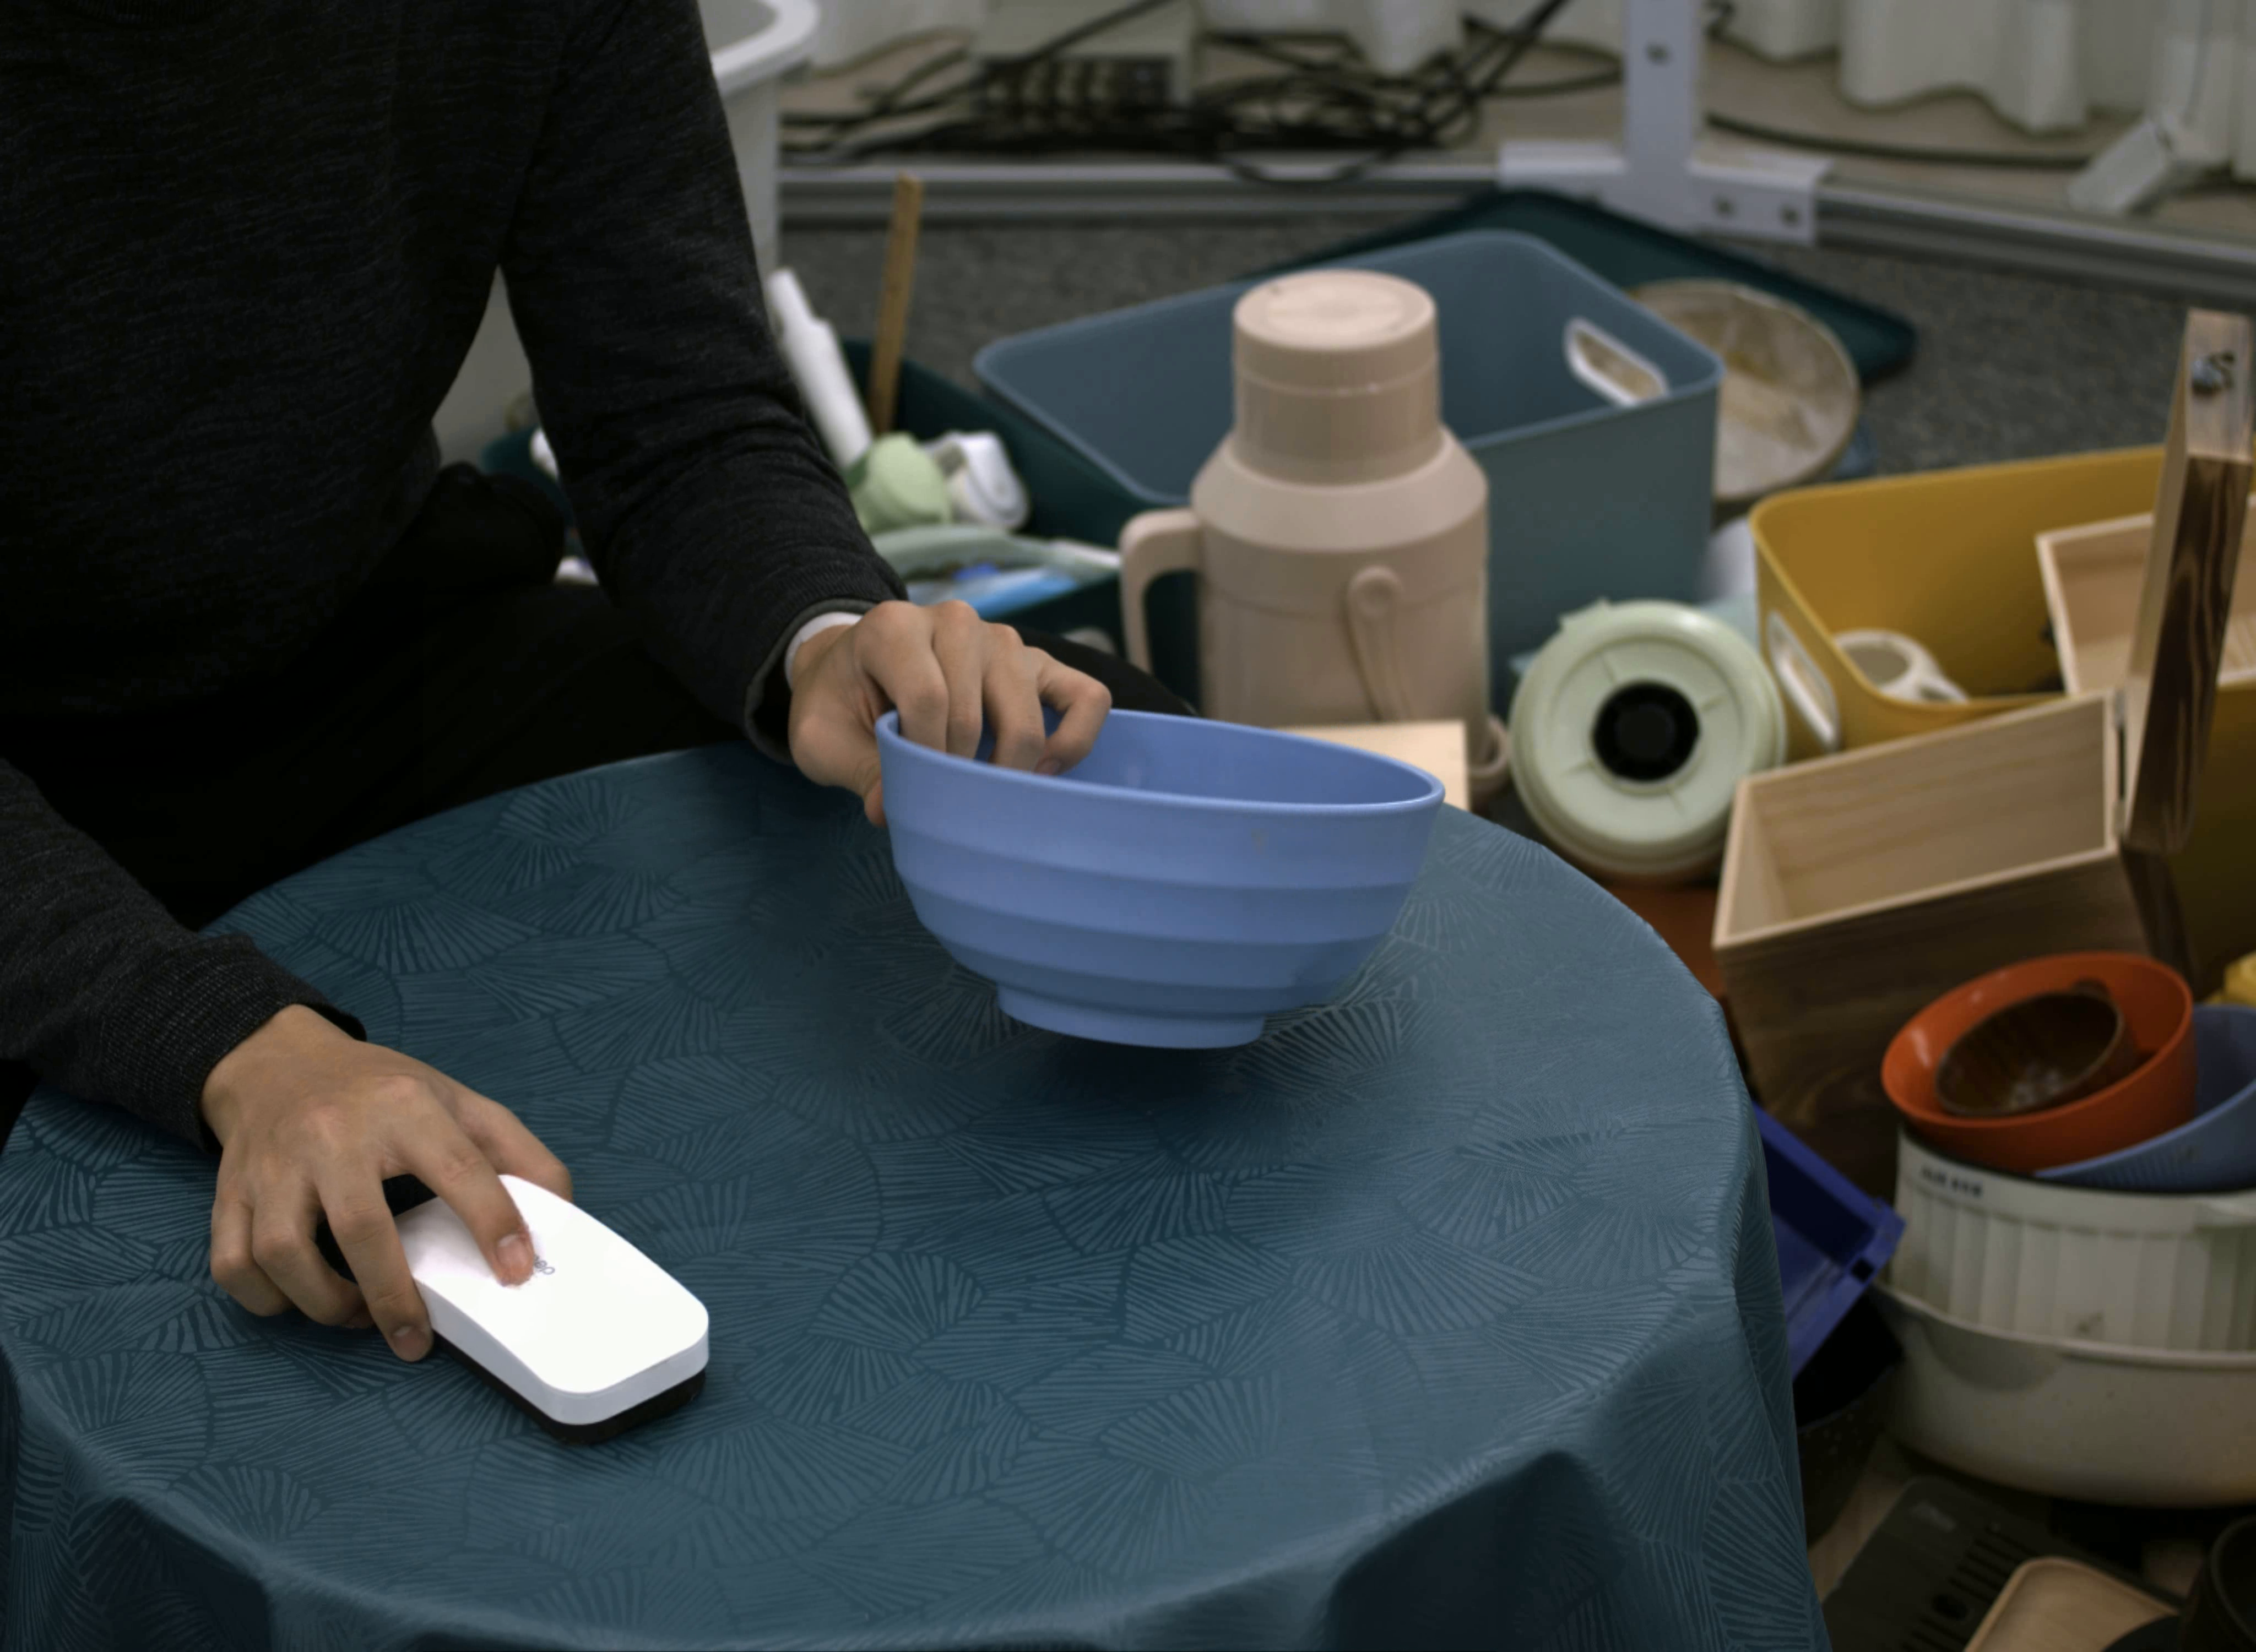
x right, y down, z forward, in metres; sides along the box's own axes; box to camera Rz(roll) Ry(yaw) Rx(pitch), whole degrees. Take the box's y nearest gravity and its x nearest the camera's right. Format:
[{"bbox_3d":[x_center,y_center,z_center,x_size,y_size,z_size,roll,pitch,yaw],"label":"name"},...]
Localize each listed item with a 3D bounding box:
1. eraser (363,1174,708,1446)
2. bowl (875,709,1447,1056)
[{"bbox_3d":[-0.188,0.151,1.789,0.064,0.034,0.131,-22,34,-32],"label":"eraser"},{"bbox_3d":[0.007,0.023,1.924,0.195,0.095,0.197,5,10,0],"label":"bowl"}]
